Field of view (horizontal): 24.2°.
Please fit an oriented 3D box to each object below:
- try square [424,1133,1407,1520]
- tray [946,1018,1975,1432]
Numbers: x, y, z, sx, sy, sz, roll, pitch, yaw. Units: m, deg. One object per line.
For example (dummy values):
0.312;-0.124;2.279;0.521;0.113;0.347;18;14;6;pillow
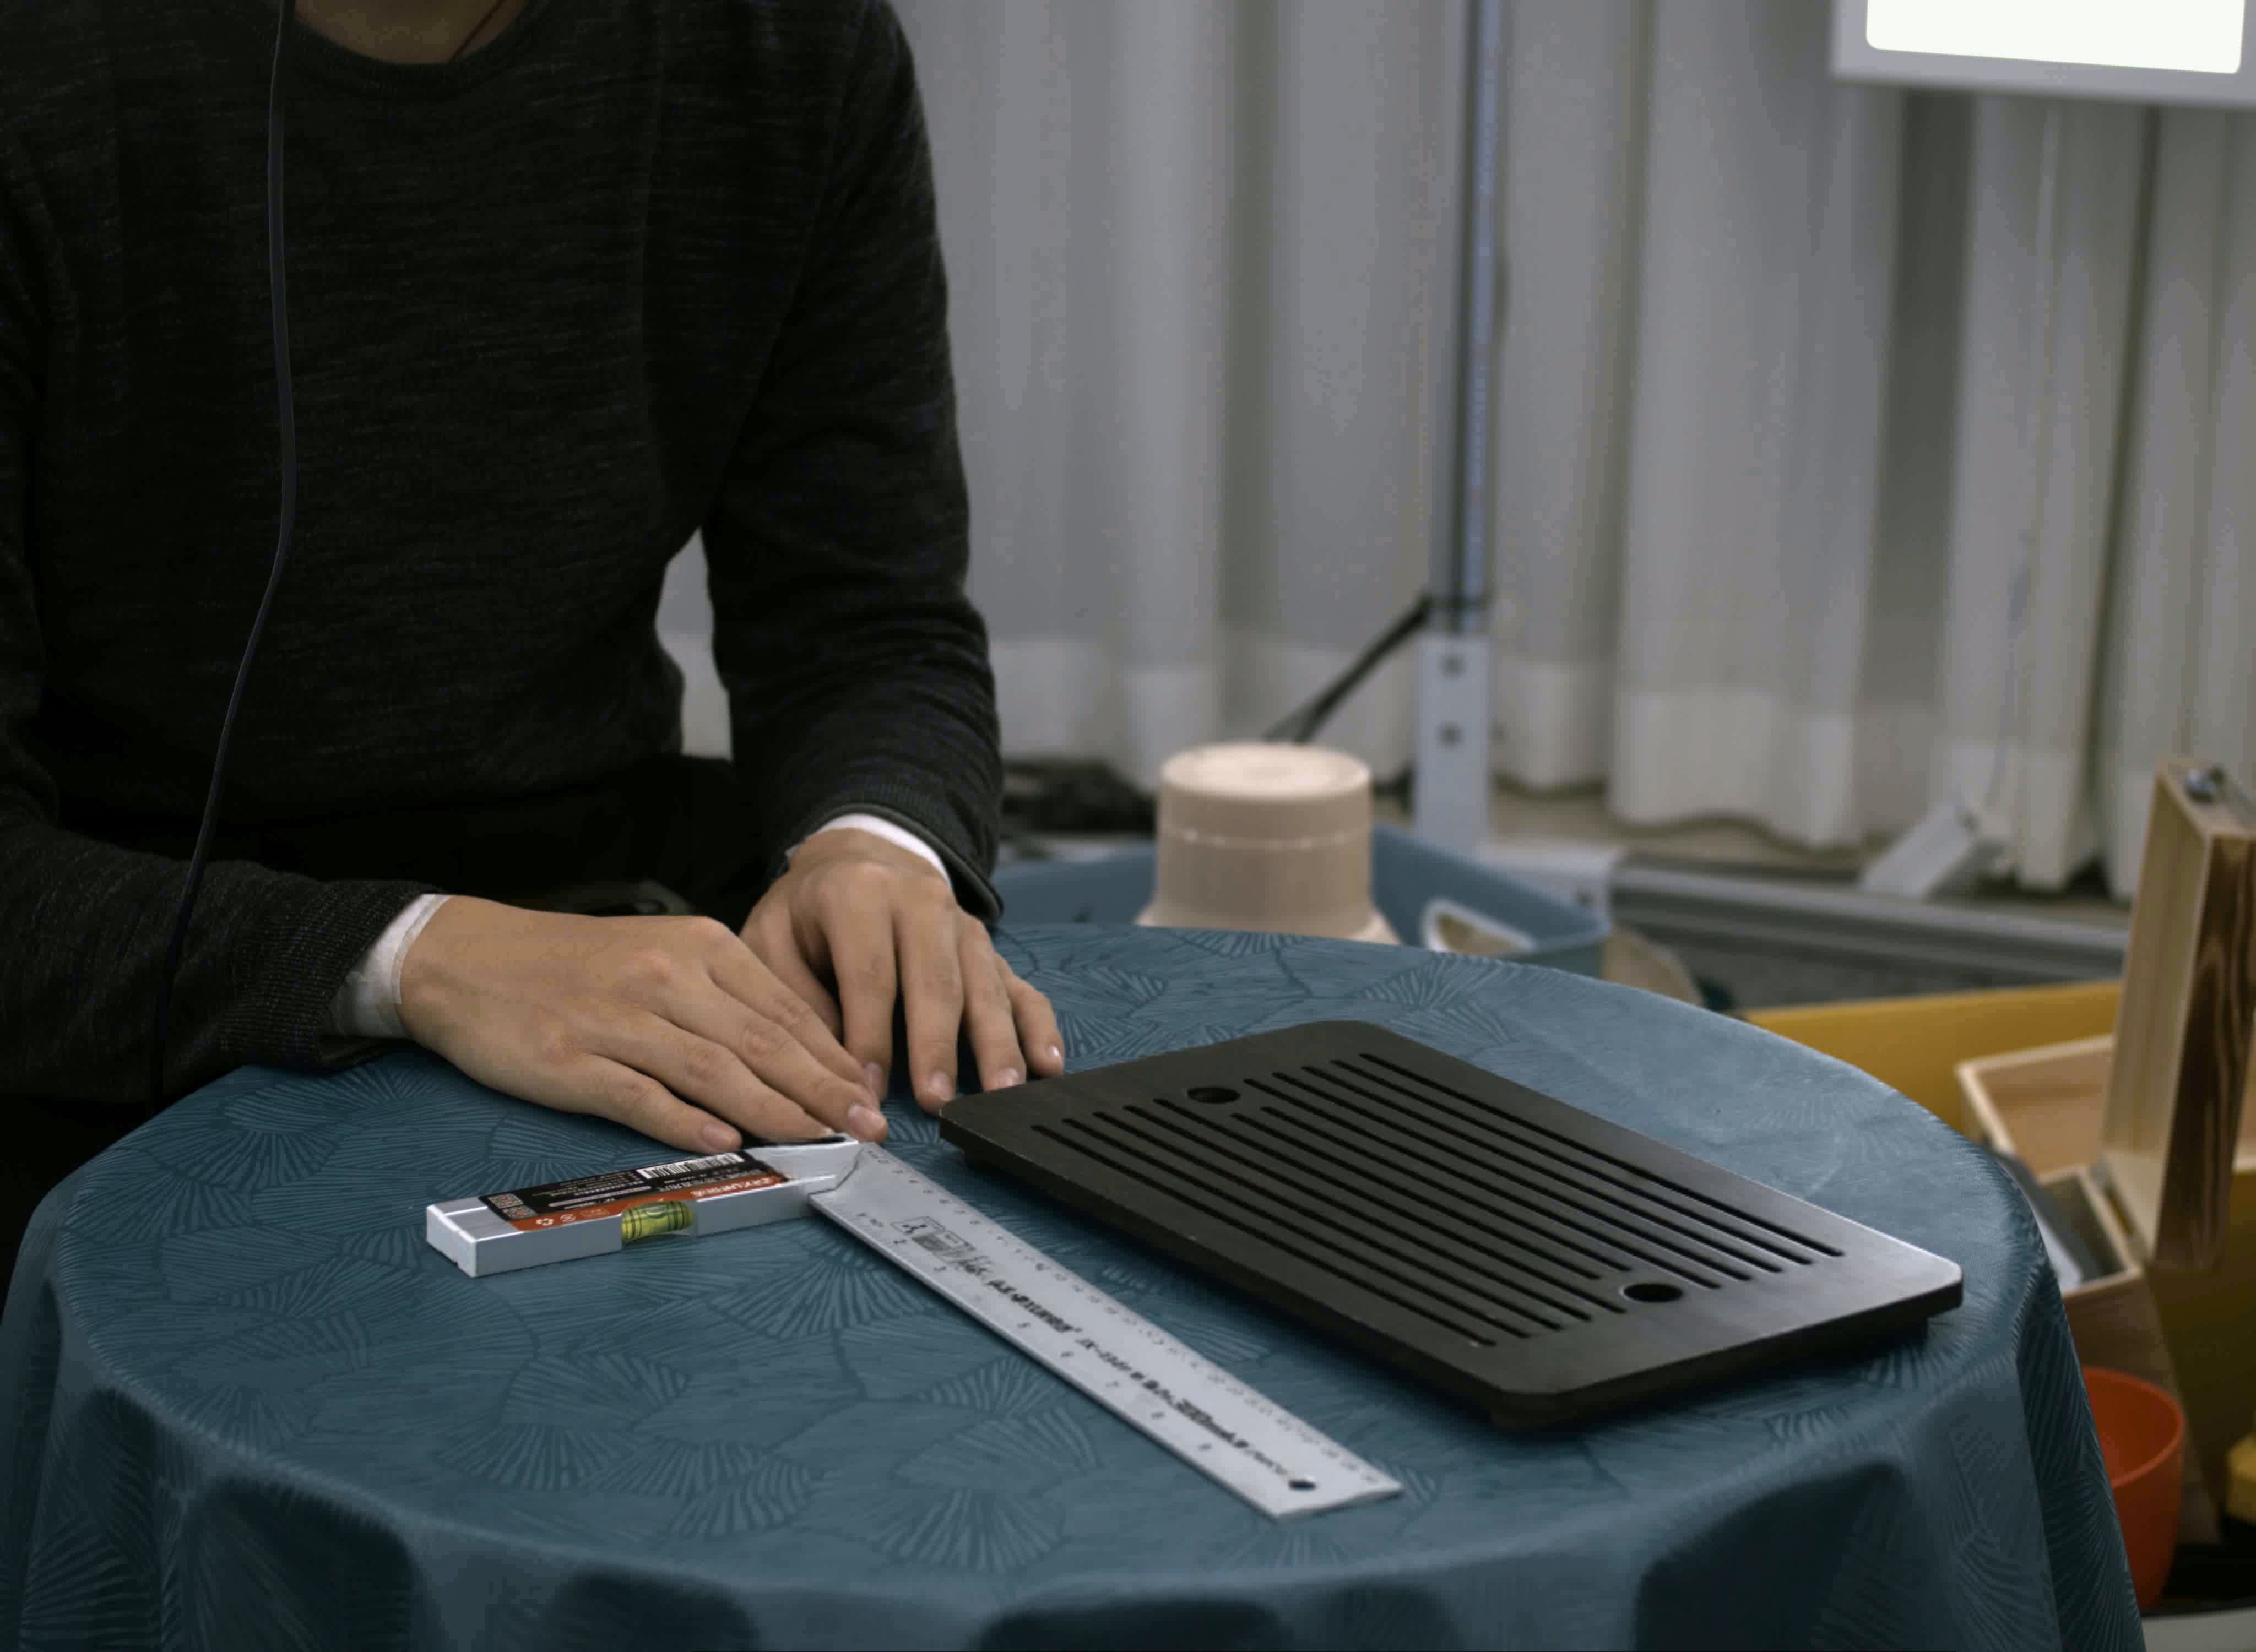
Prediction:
-0.068;0.146;1.480;0.153;0.016;0.309;-8;18;-29;try square
0.093;0.115;1.579;0.171;0.019;0.302;-11;19;-33;tray
